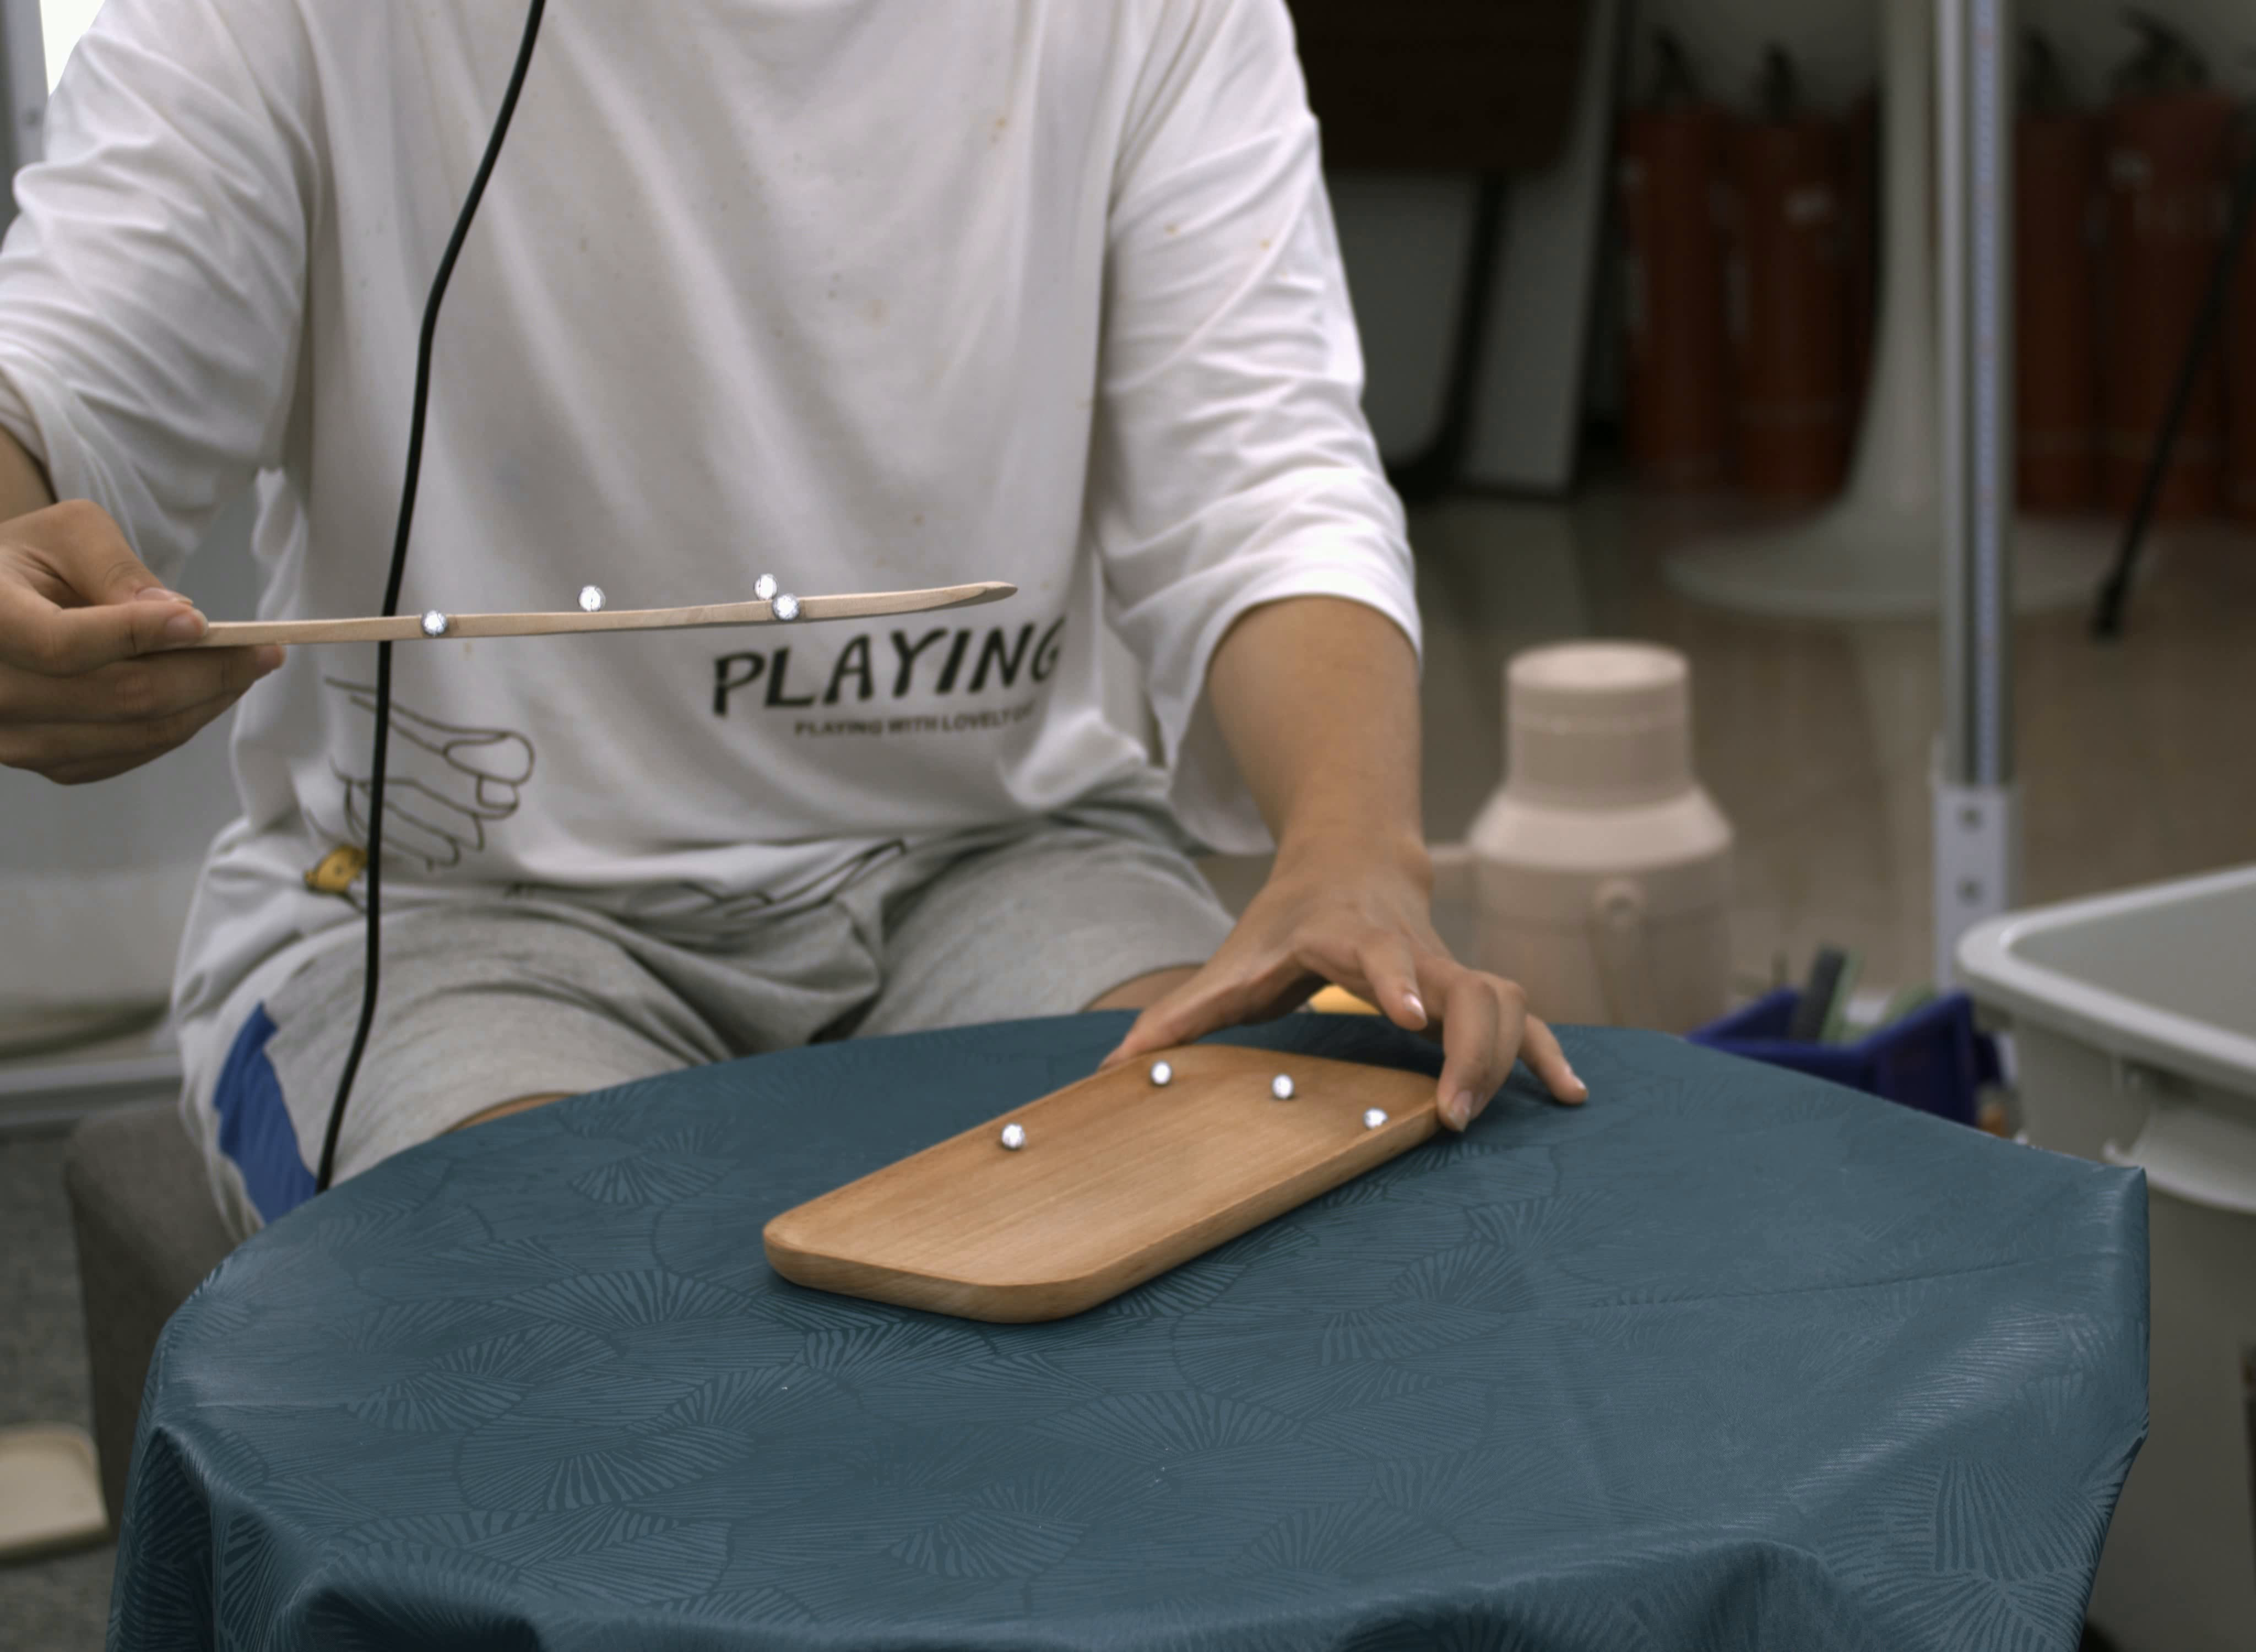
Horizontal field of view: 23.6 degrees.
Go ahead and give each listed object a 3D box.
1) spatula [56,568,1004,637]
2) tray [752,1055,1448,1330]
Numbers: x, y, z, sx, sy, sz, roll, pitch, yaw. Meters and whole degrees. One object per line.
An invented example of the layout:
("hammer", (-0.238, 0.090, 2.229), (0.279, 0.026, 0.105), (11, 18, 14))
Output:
("spatula", (-0.183, -0.066, 1.642), (0.290, 0.011, 0.072), (-2, 2, 8))
("tray", (-0.005, 0.118, 1.765), (0.131, 0.023, 0.246), (4, 16, 39))
